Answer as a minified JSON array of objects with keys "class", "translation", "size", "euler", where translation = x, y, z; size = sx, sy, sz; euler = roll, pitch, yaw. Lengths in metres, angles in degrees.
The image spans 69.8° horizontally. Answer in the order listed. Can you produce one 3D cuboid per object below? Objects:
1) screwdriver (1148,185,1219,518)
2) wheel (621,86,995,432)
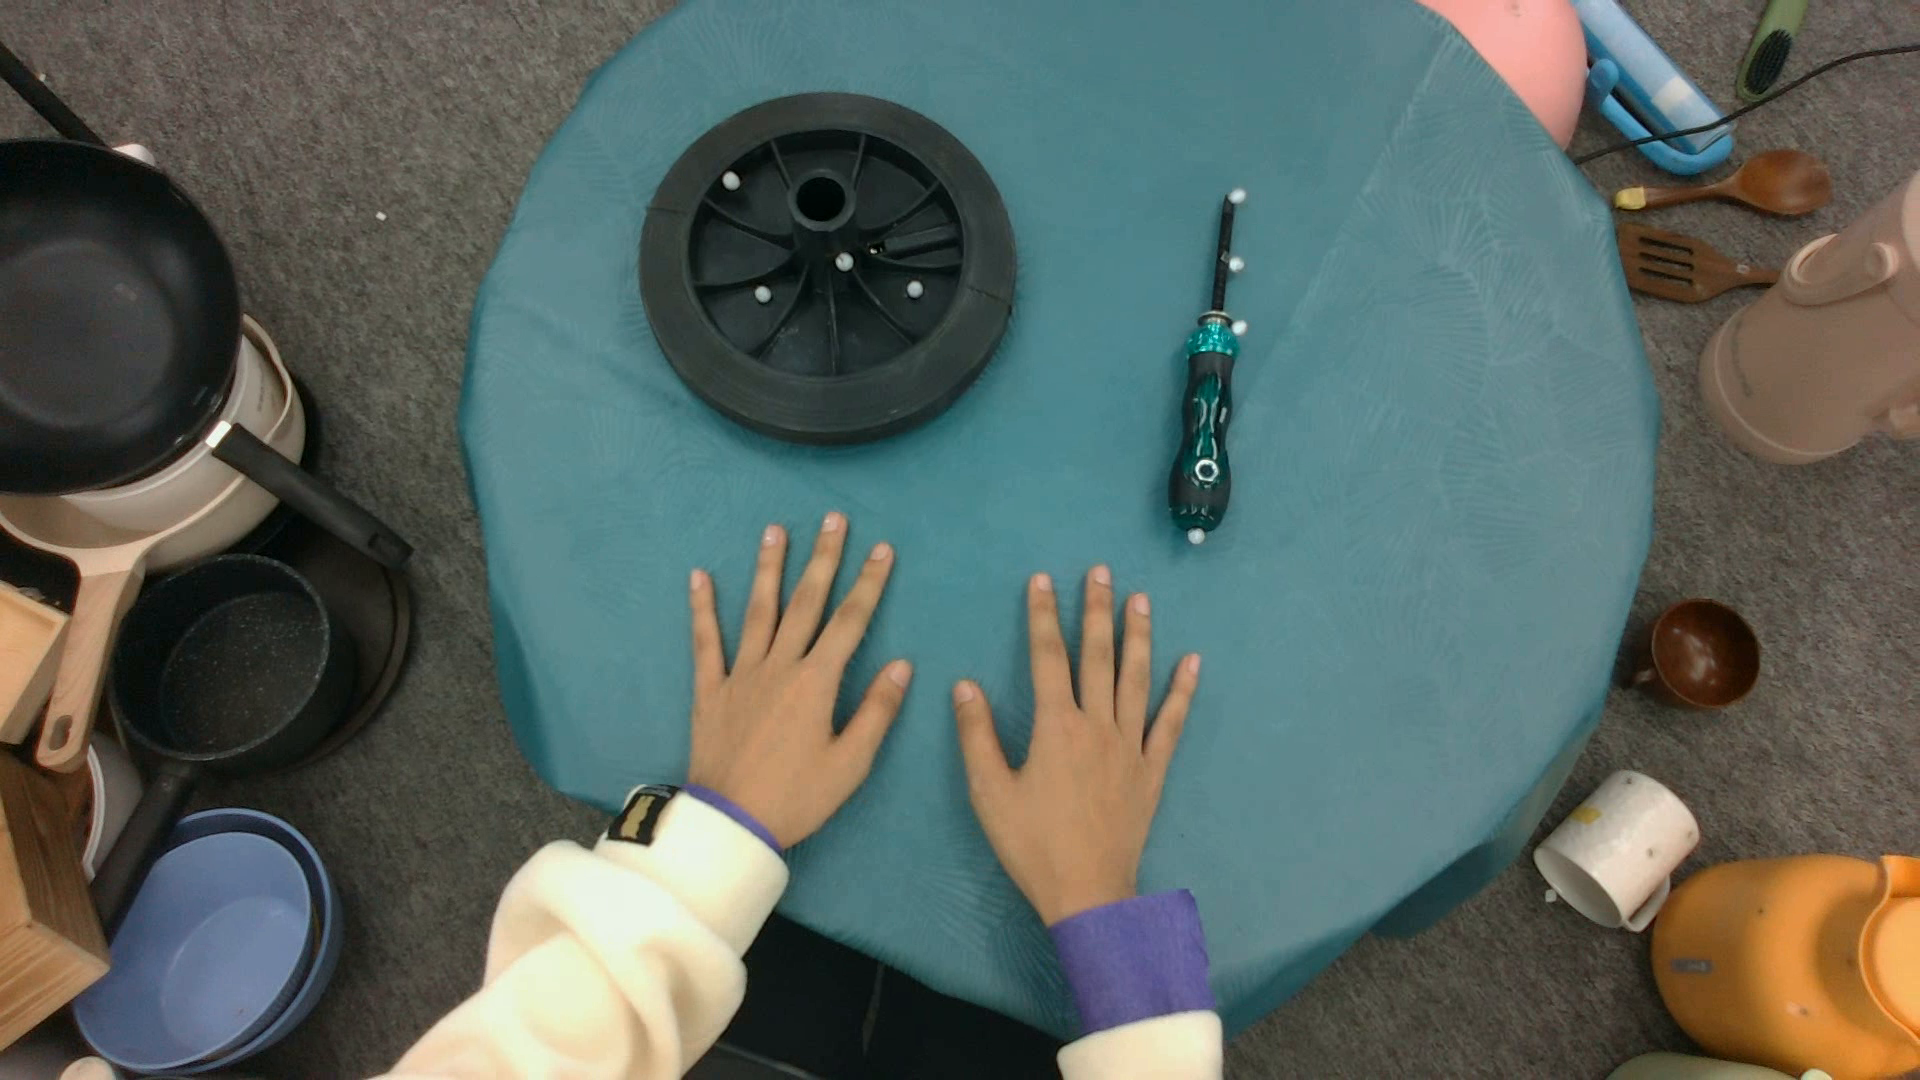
[{"class":"screwdriver","translation":[0.118,-0.101,0.697],"size":[0.034,0.033,0.190],"euler":[9,68,0]},{"class":"wheel","translation":[-0.073,-0.151,0.675],"size":[0.190,0.079,0.187],"euler":[-38,79,-15]}]
